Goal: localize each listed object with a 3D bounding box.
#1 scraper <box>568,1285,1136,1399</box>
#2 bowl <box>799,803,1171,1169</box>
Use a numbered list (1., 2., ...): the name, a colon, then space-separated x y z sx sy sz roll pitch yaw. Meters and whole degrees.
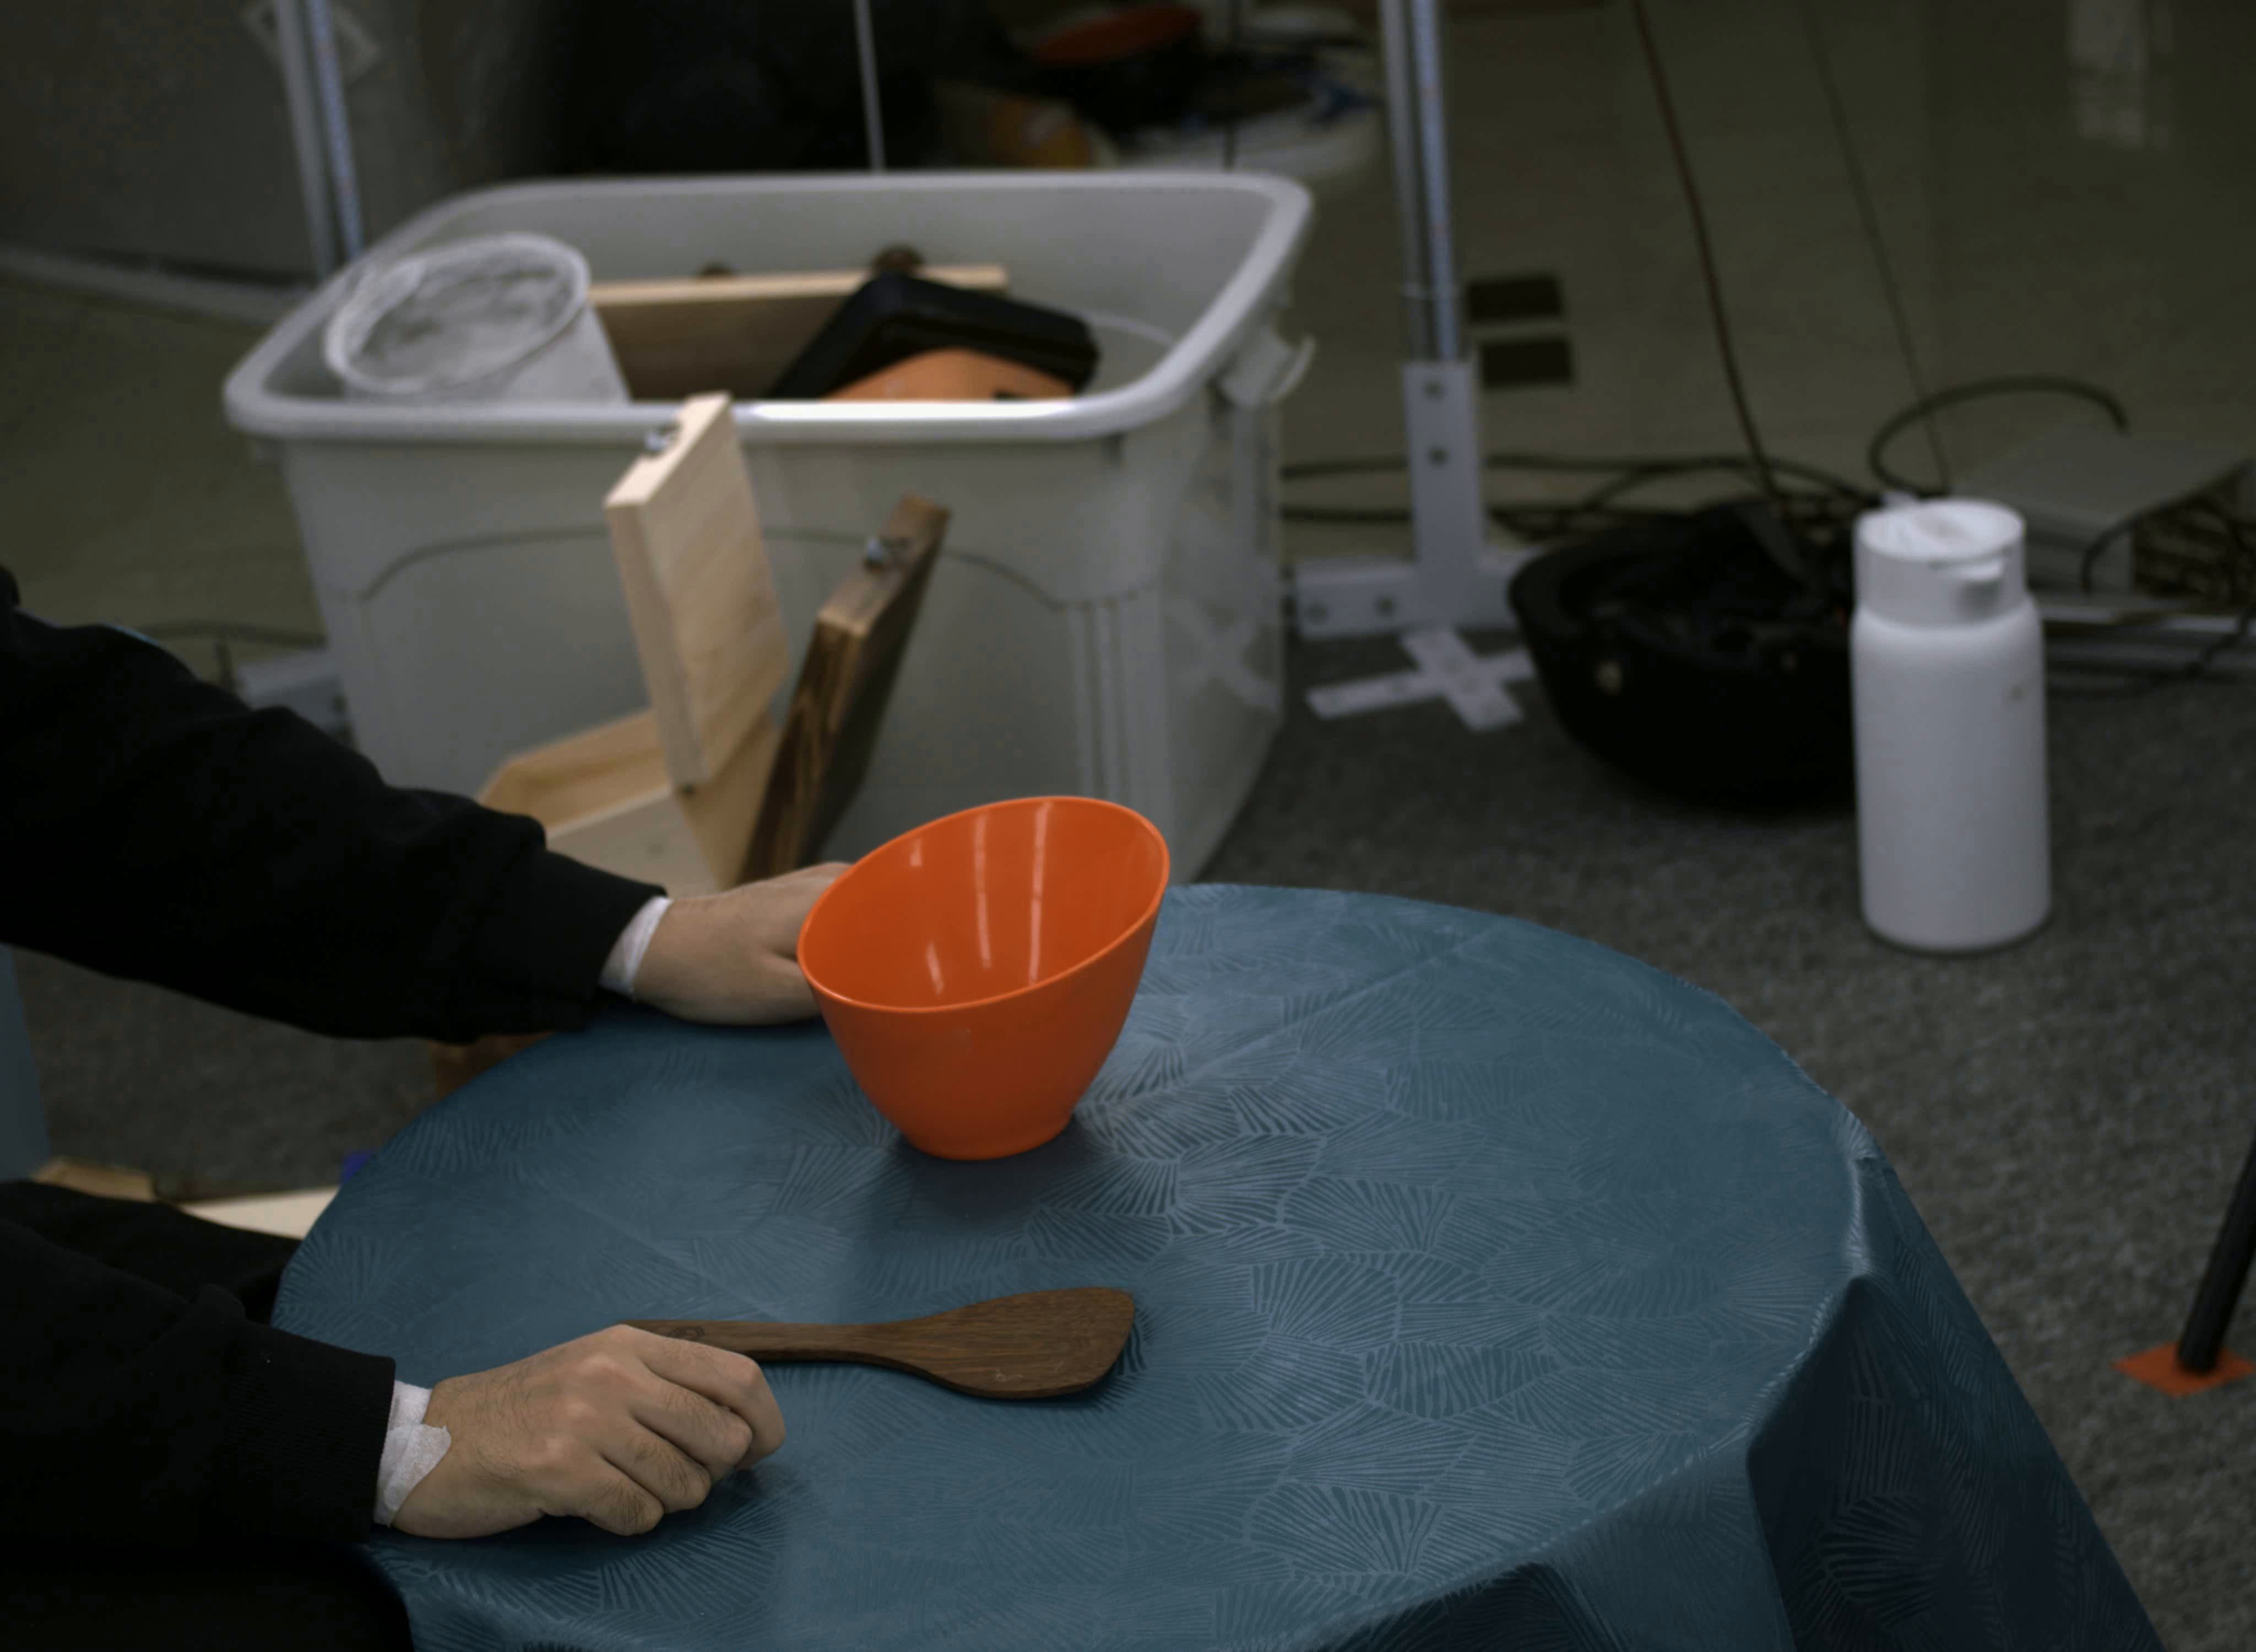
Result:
1. scraper: -0.102 0.188 2.063 0.211 0.011 0.075 -1 24 13
2. bowl: -0.050 0.069 2.198 0.148 0.106 0.146 -6 26 3
